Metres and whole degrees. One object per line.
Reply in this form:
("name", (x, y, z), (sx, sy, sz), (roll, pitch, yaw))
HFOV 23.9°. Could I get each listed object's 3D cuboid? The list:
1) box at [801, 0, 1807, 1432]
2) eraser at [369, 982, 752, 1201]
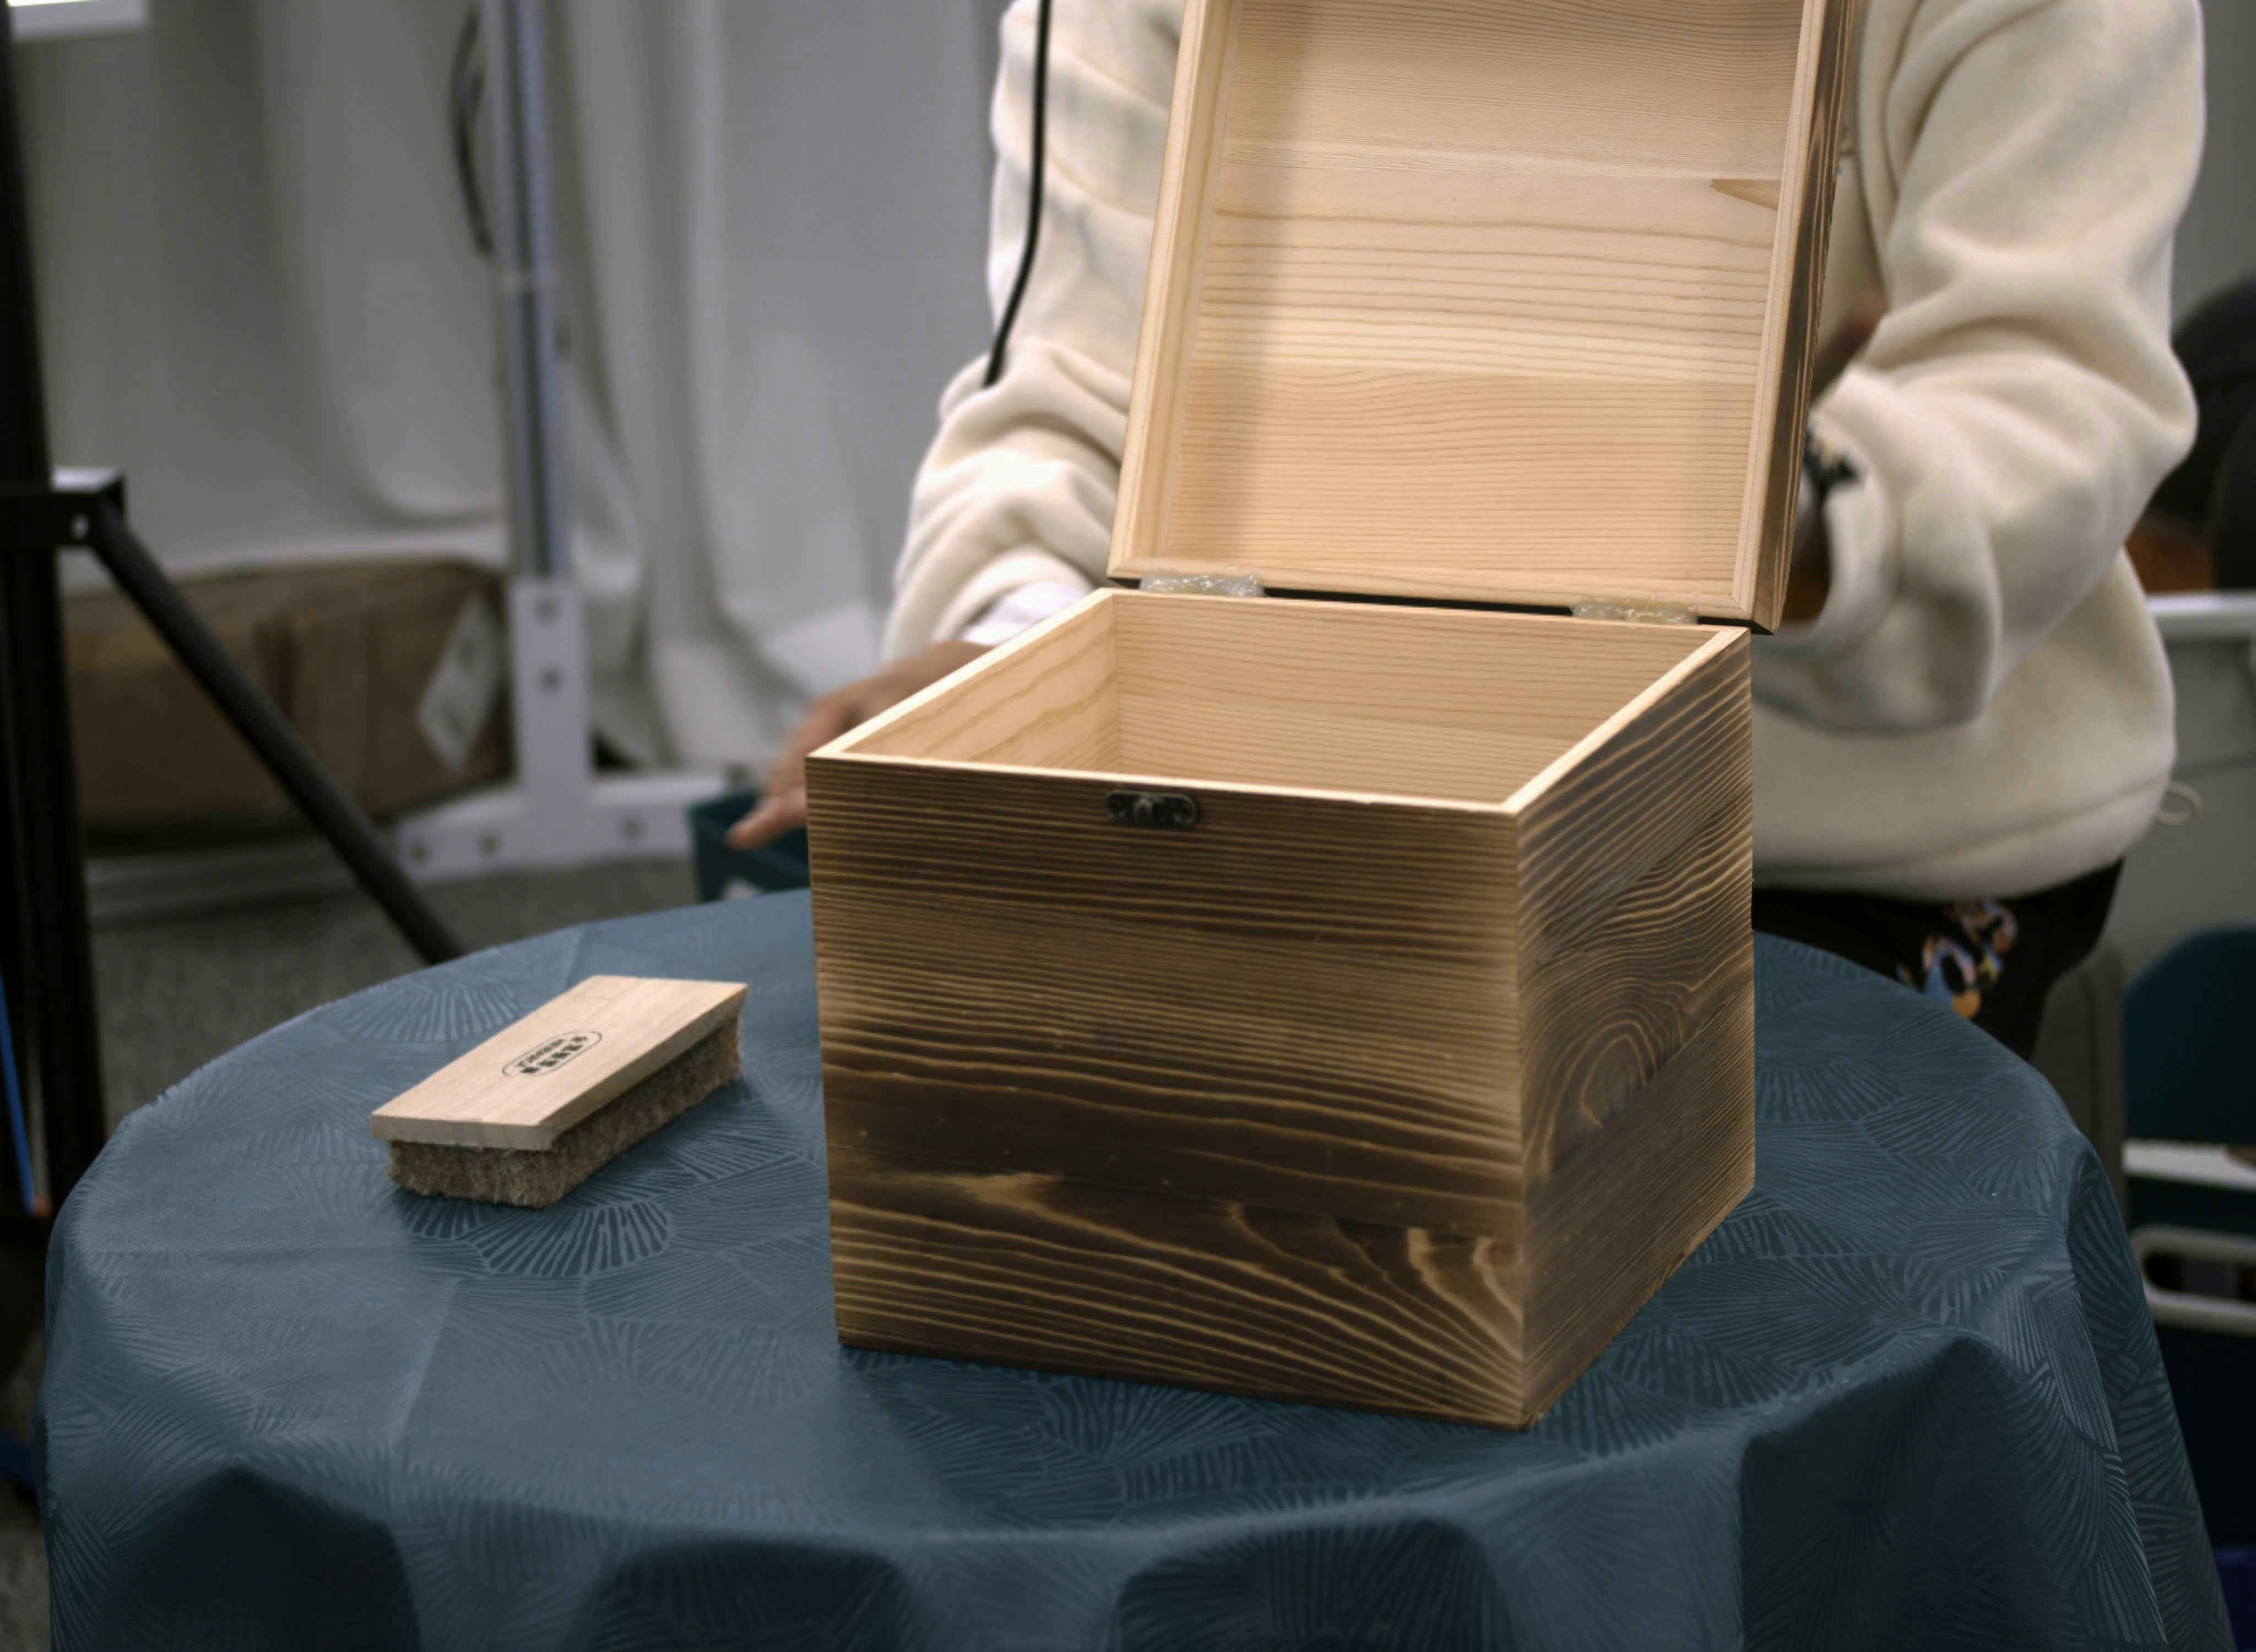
("box", (0.062, -0.064, 1.490), (0.211, 0.375, 0.317), (4, 16, 23))
("eraser", (-0.171, 0.080, 1.633), (0.058, 0.029, 0.137), (1, 15, 26))
